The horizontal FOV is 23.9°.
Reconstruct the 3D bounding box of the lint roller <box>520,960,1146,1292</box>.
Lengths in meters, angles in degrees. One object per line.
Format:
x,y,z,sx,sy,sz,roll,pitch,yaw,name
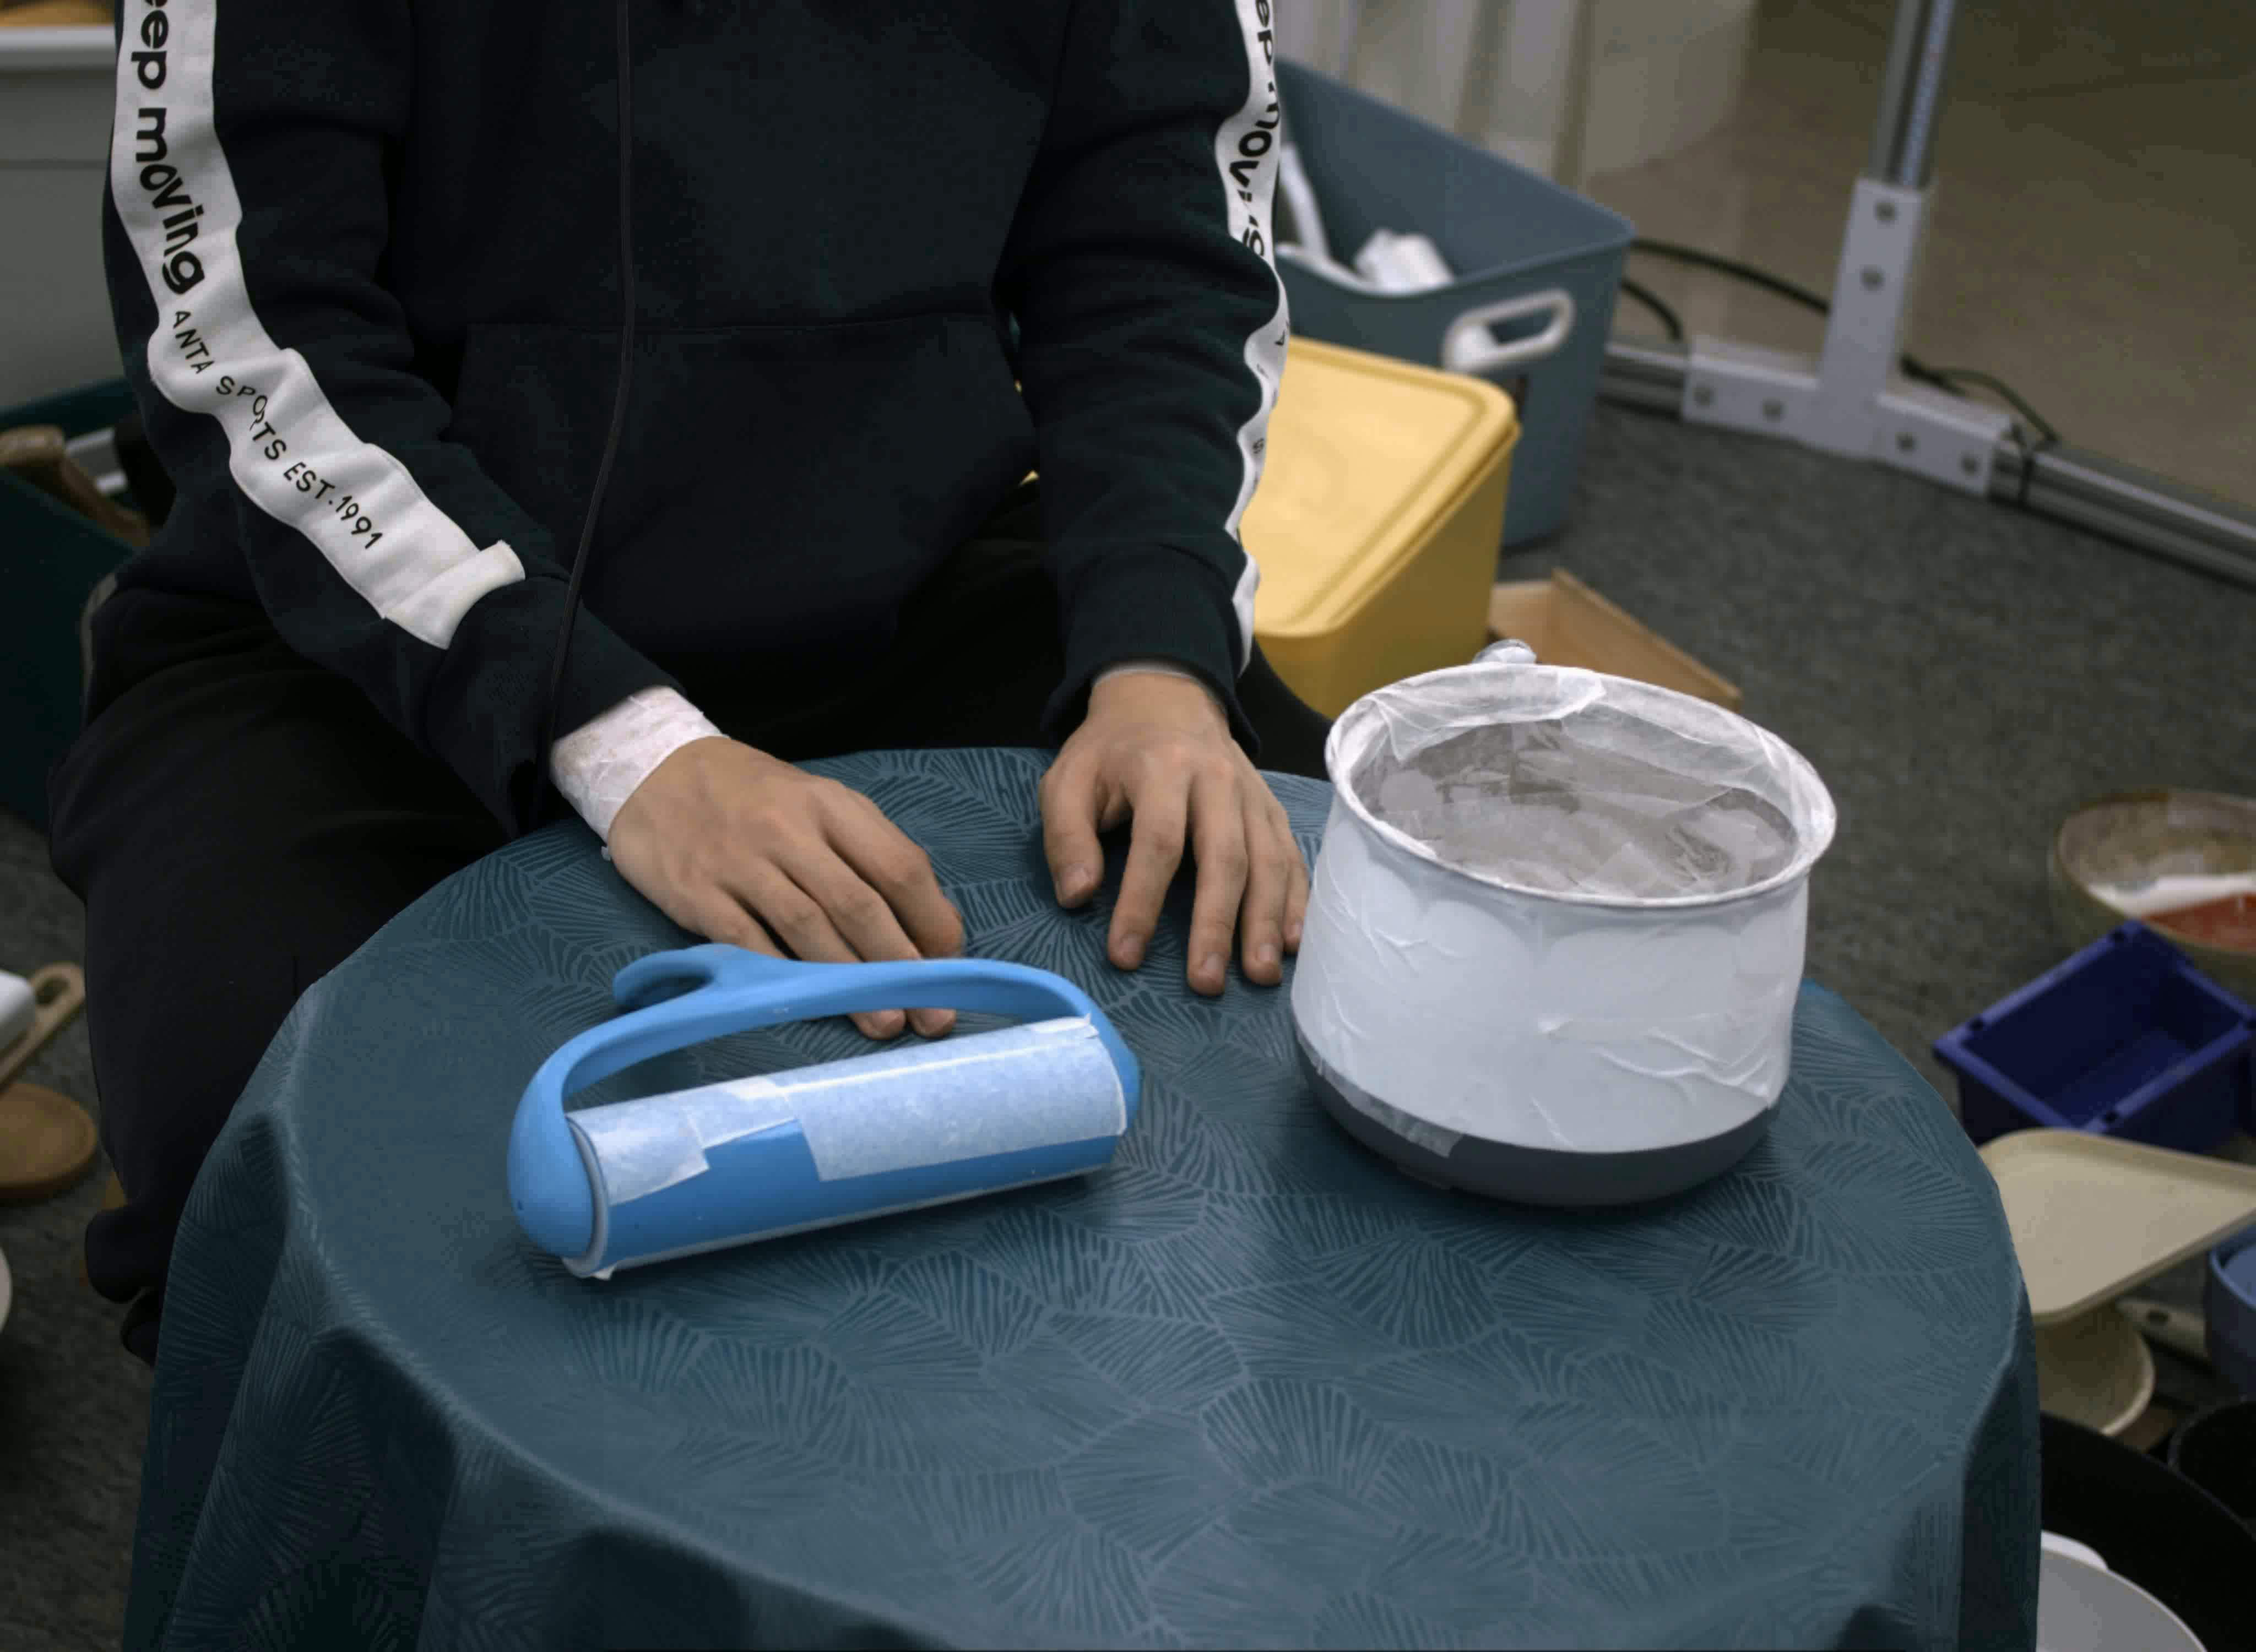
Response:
-0.127,0.080,1.795,0.227,0.067,0.182,-14,34,-31,lint roller

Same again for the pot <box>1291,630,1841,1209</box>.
0.143,0.025,1.868,0.178,0.136,0.235,1,29,-12,pot
